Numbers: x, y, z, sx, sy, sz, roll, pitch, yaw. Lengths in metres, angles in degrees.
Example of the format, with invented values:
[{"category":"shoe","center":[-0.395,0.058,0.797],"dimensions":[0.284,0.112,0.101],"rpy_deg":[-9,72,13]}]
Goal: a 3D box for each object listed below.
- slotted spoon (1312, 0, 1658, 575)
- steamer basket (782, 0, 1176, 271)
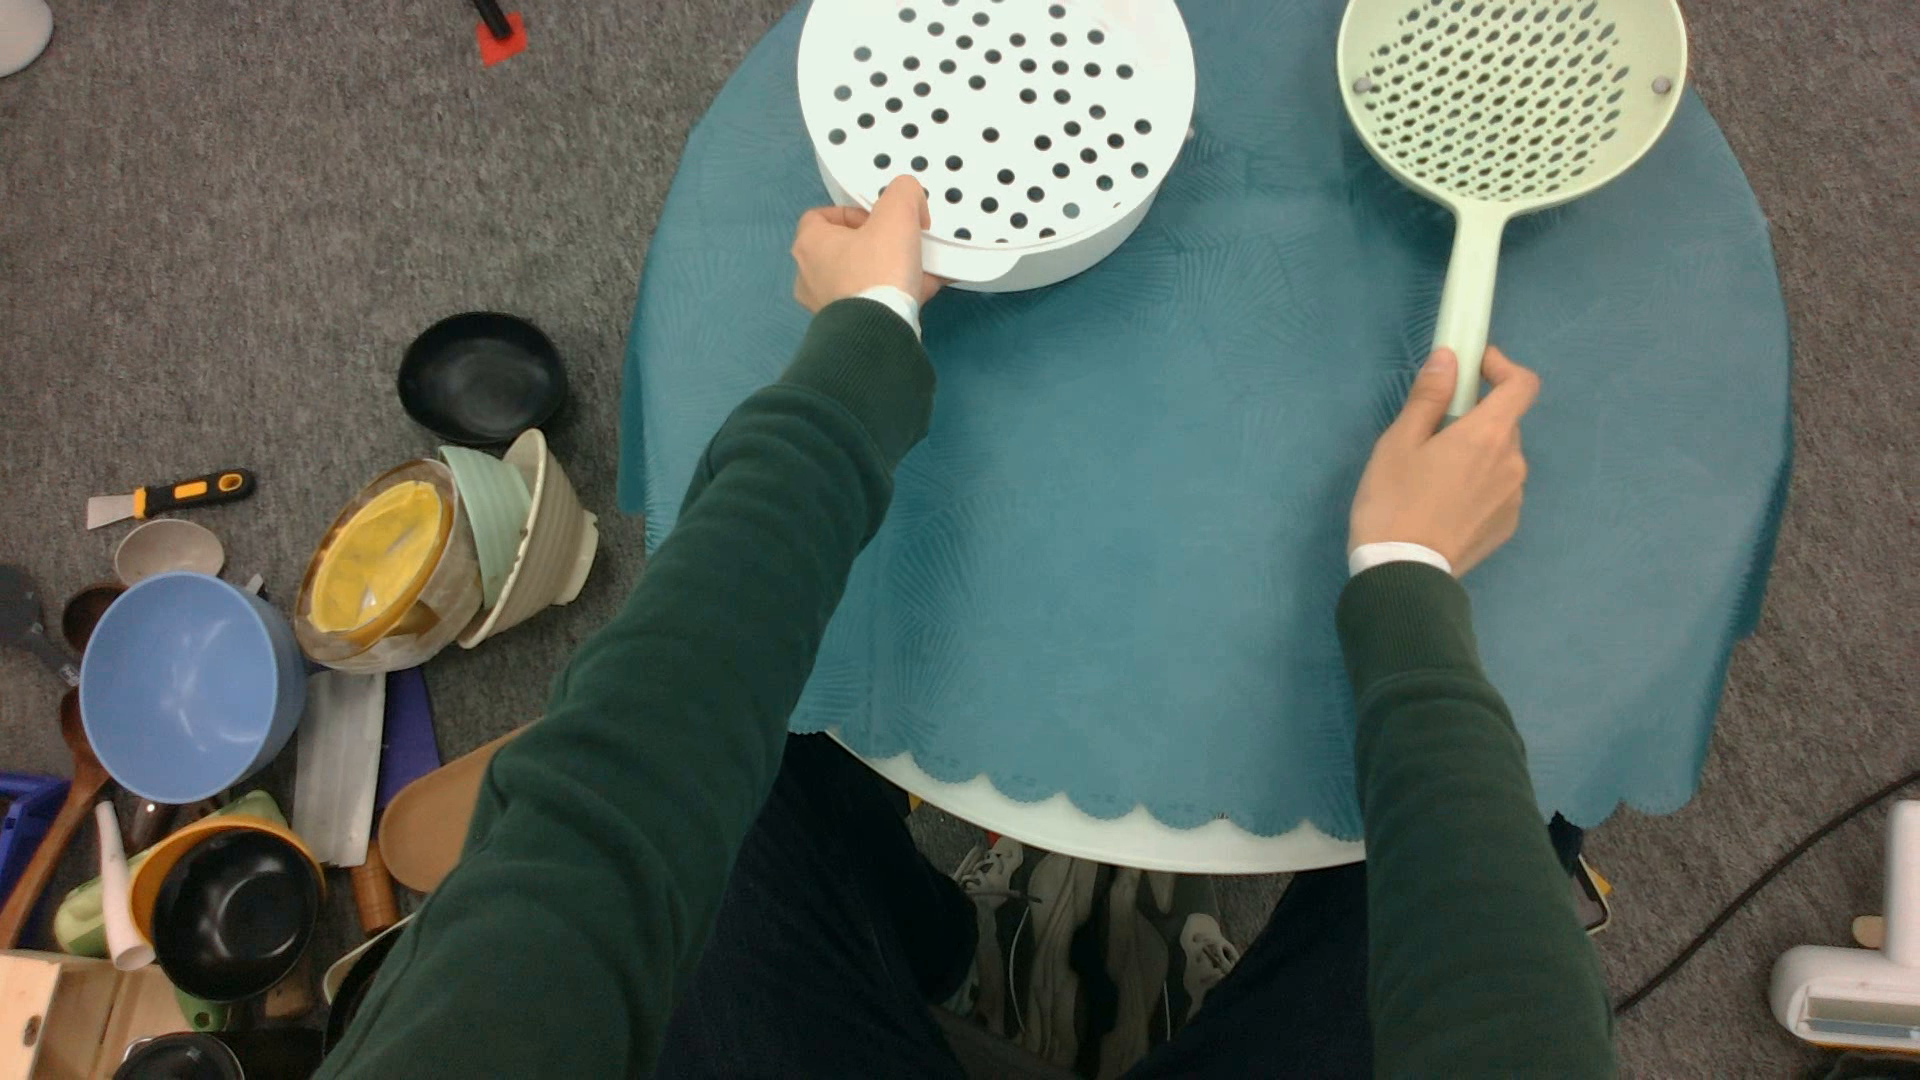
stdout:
[{"category":"slotted spoon","center":[0.247,-0.160,0.695],"dimensions":[0.169,0.075,0.360],"rpy_deg":[10,70,12]},{"category":"steamer basket","center":[0.010,-0.241,0.731],"dimensions":[0.202,0.069,0.231],"rpy_deg":[13,75,2]}]
